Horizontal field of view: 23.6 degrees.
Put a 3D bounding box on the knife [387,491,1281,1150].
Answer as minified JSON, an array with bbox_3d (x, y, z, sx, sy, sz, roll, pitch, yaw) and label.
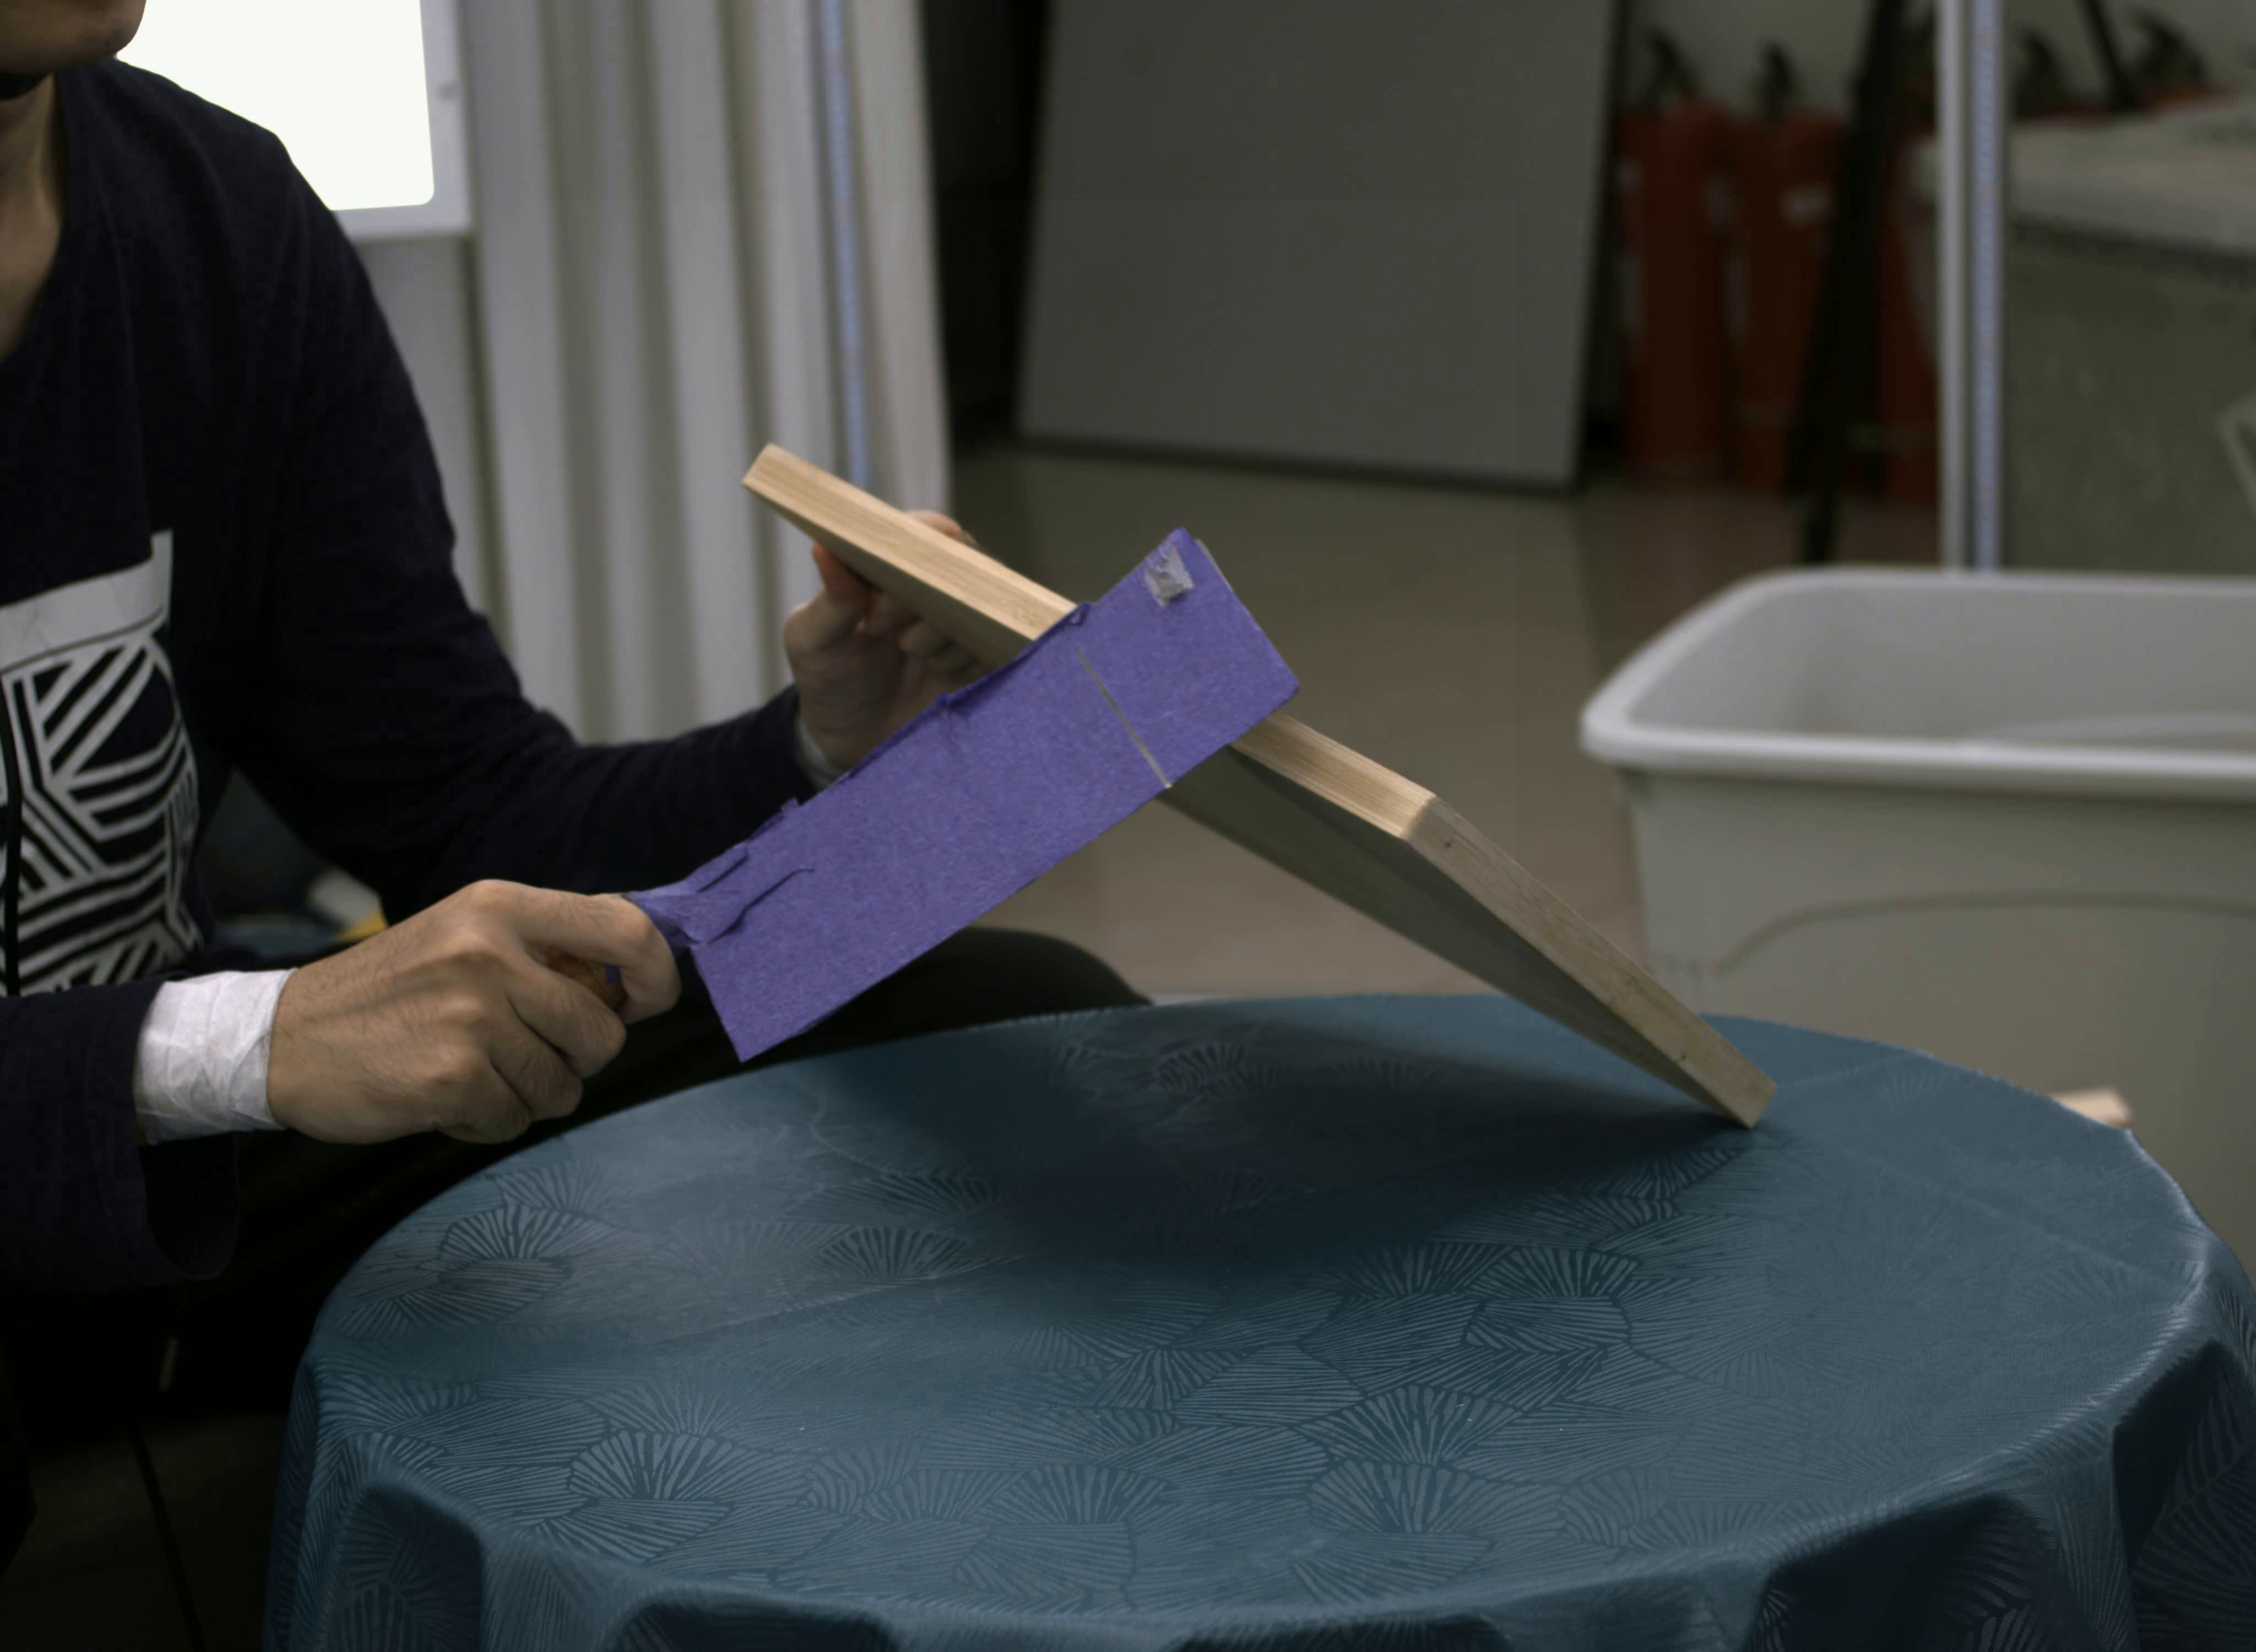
[{"bbox_3d":[-0.092,0.014,1.666,0.315,0.032,0.105,-38,39,6],"label":"knife"}]

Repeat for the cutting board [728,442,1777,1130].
[{"bbox_3d":[0.039,-0.016,1.831,0.352,0.023,0.247,29,-7,43],"label":"cutting board"}]
